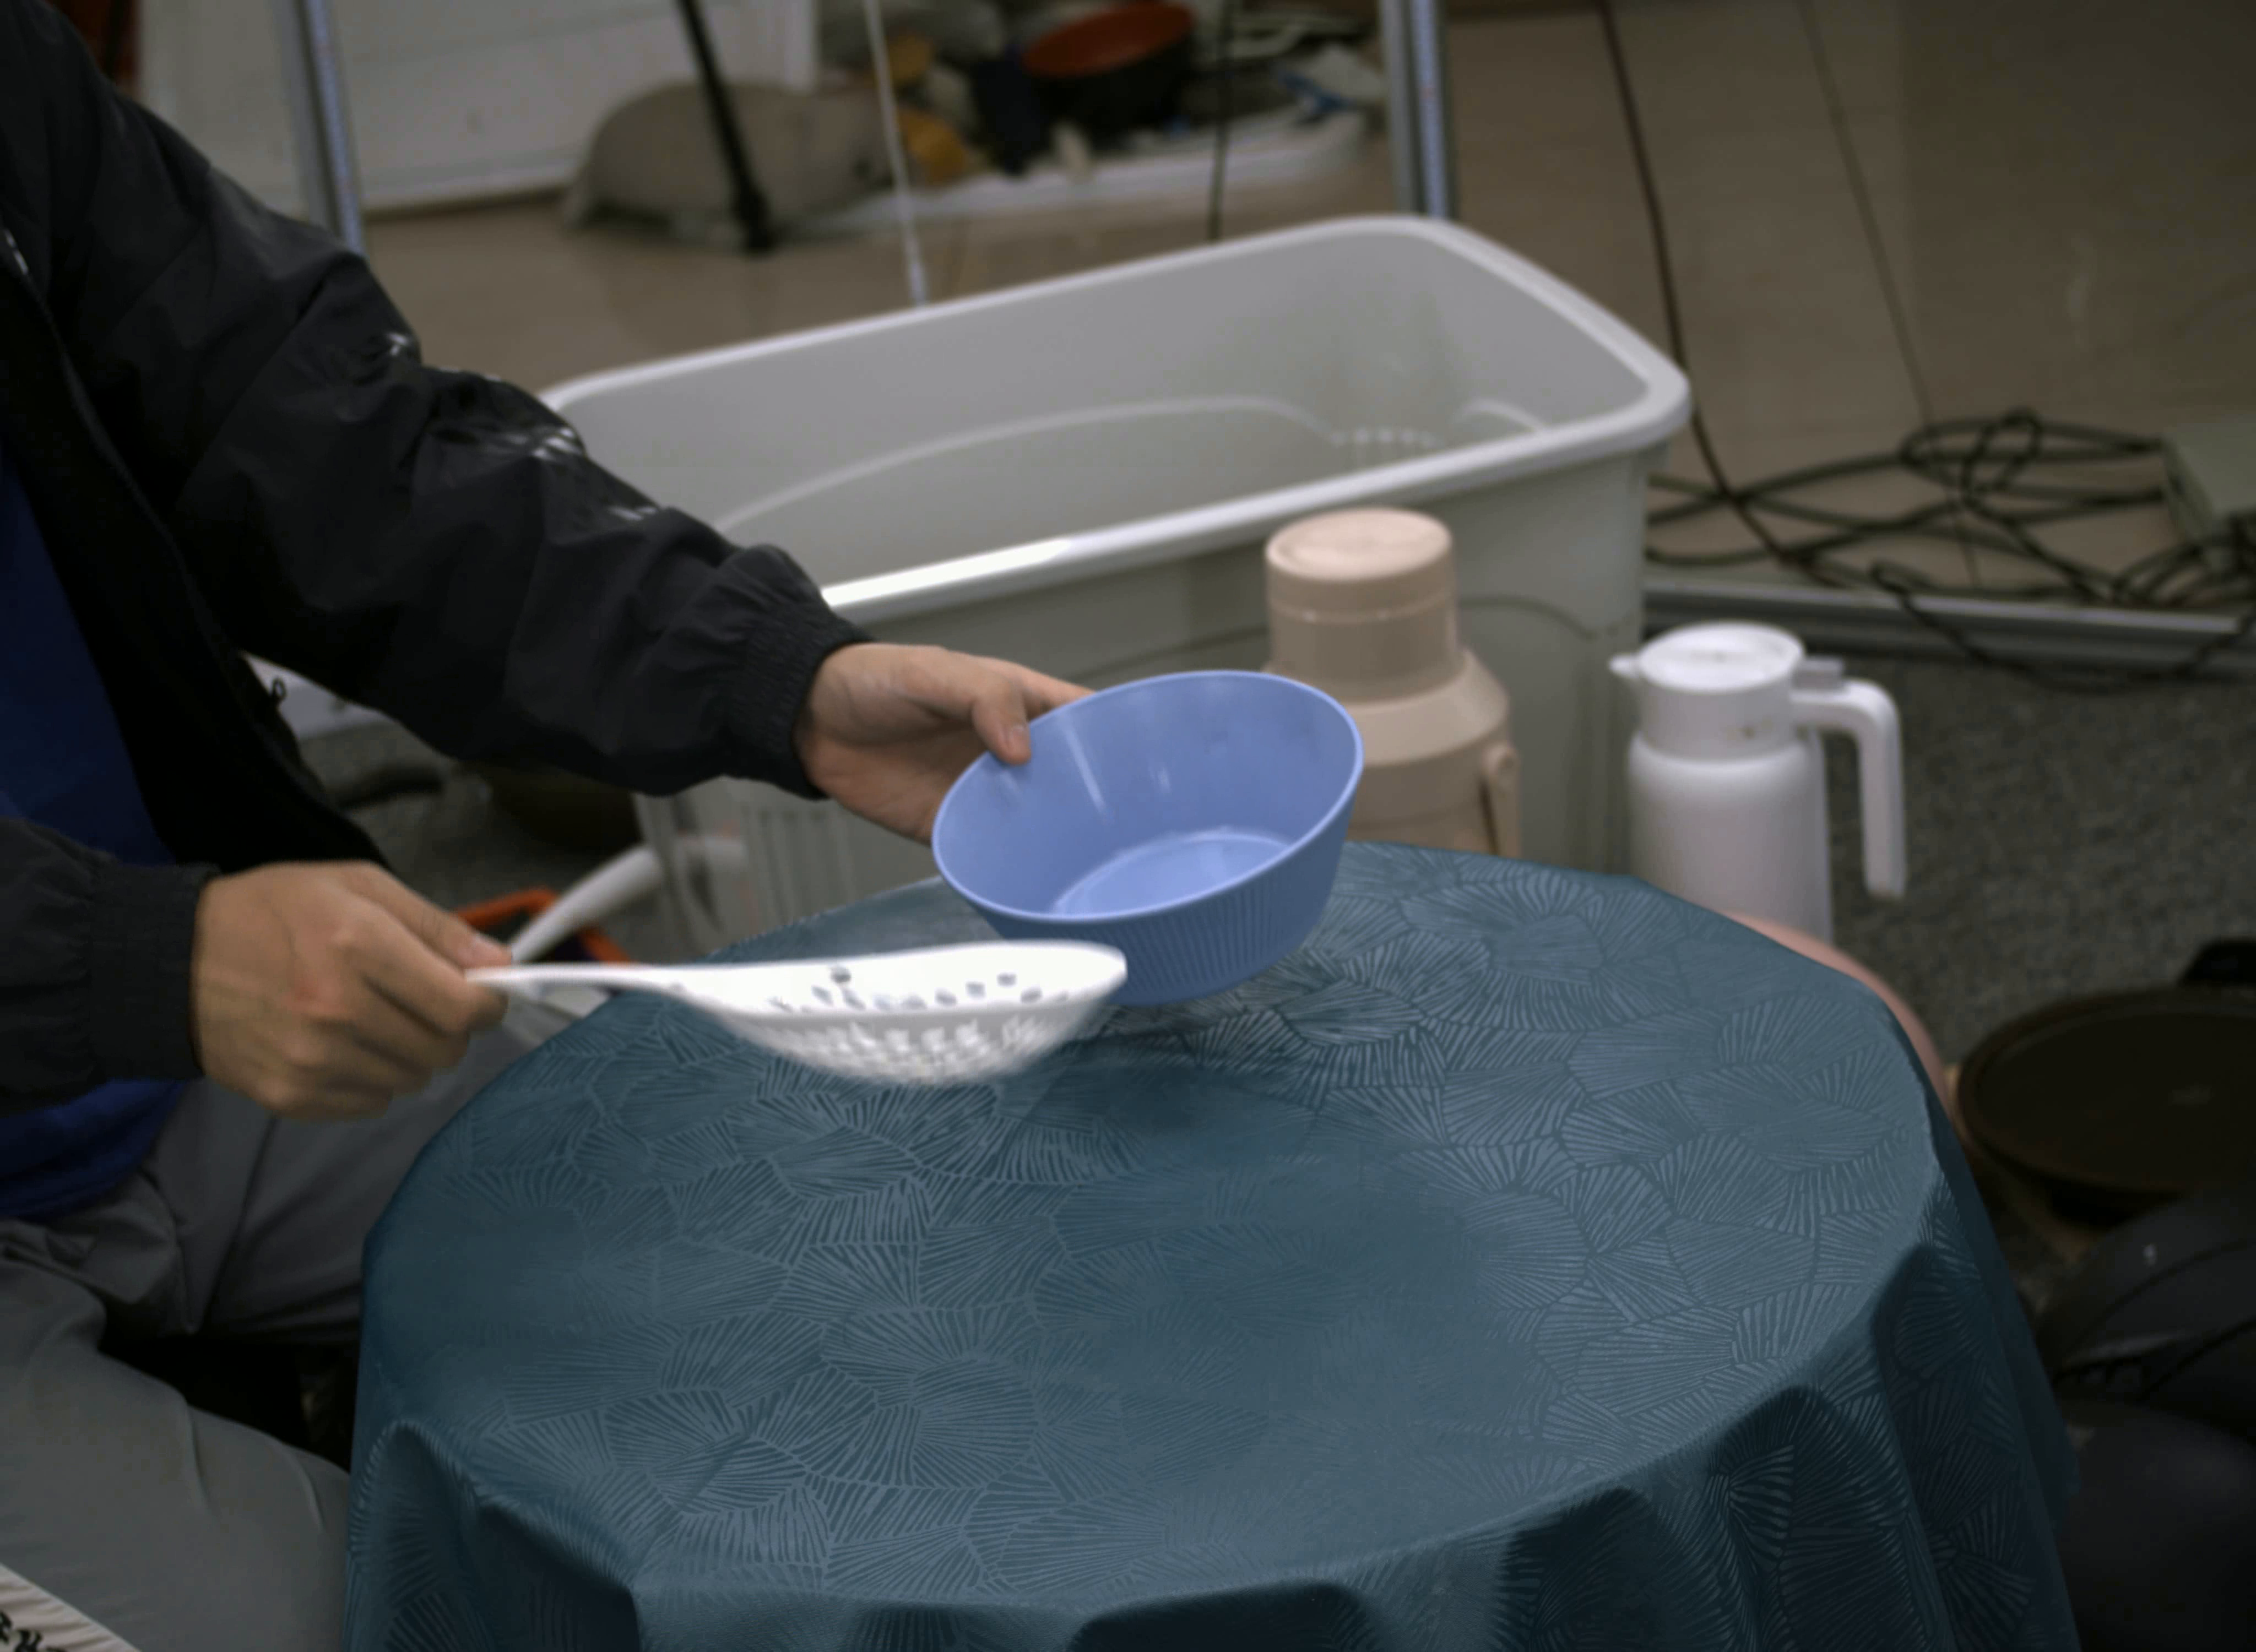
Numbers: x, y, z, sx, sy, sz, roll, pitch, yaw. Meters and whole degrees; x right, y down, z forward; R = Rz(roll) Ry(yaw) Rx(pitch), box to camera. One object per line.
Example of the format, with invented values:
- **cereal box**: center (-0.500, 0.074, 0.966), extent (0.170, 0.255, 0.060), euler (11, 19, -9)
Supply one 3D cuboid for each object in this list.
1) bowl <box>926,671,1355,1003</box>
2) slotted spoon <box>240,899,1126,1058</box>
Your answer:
- **bowl**: center (0.012, 0.012, 2.249), extent (0.176, 0.071, 0.173), euler (-12, 31, 8)
- **slotted spoon**: center (-0.167, 0.059, 2.053), extent (0.347, 0.051, 0.136), euler (1, 10, 22)
